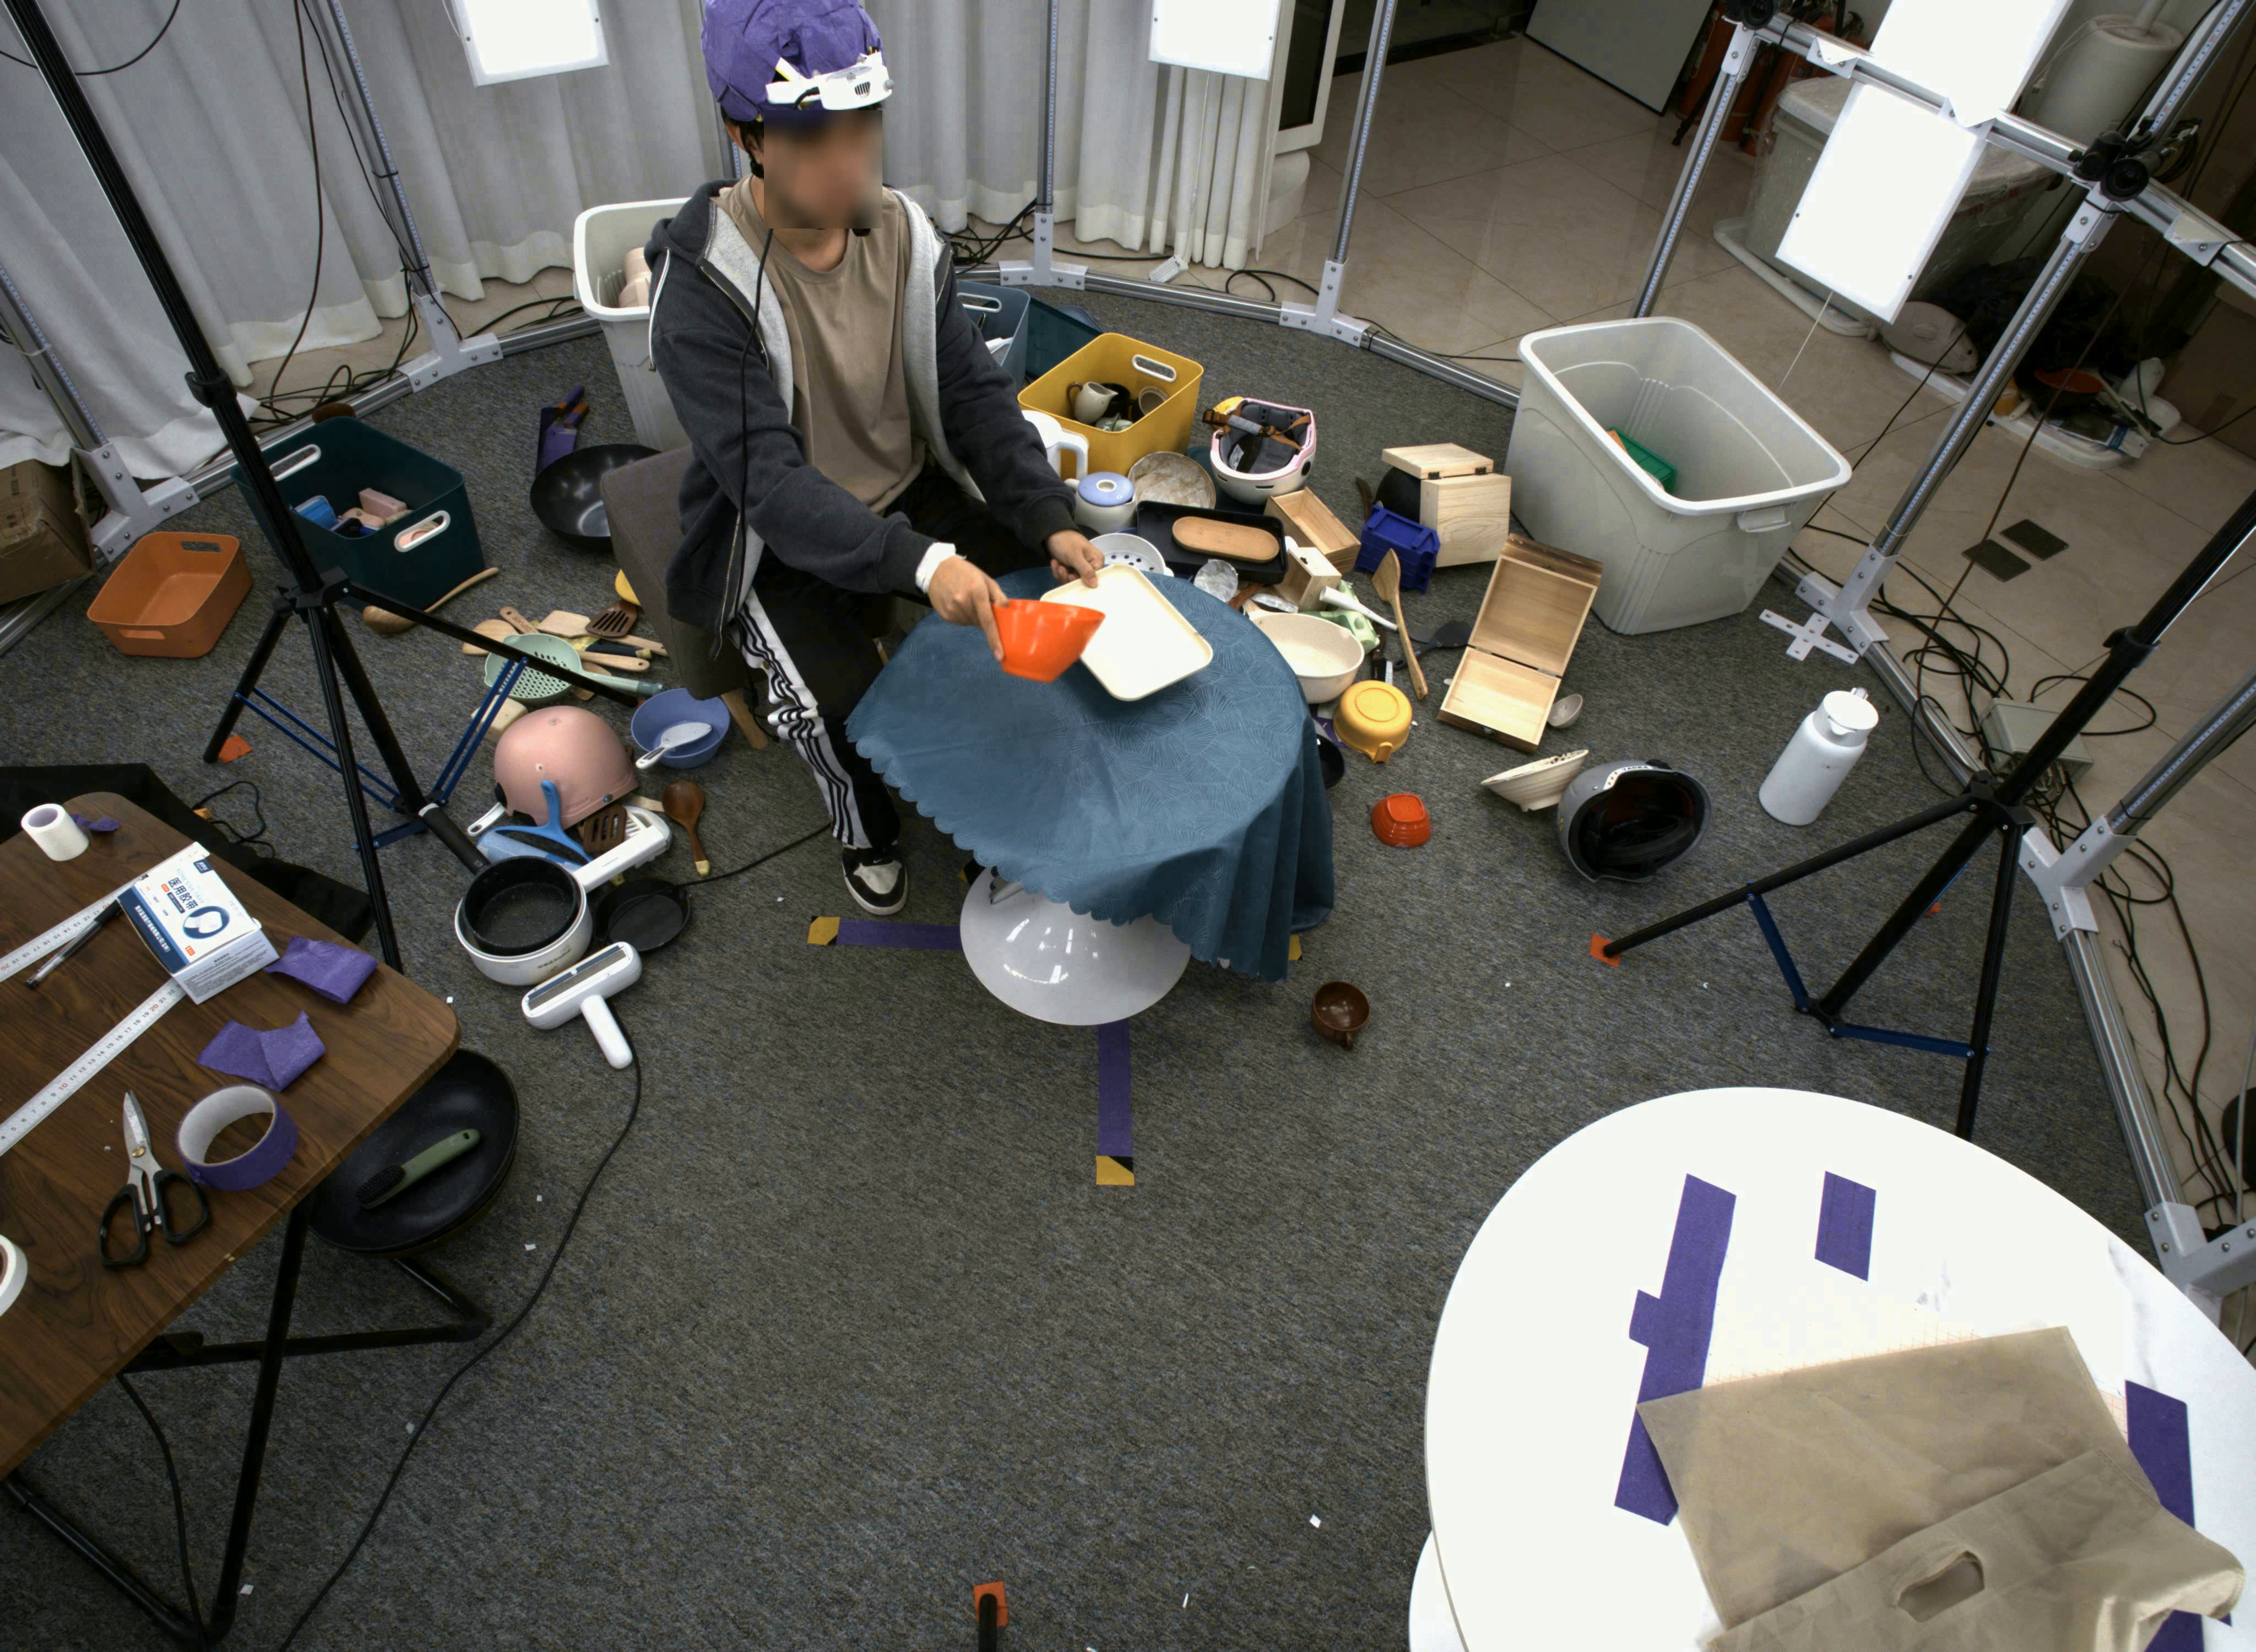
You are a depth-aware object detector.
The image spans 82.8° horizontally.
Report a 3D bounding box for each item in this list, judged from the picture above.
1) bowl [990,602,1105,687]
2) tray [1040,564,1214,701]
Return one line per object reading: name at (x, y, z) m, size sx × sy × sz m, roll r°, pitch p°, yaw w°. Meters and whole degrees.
bowl at (-0.112, -0.236, 1.657) m, size 0.148 × 0.104 × 0.149 m, roll 14°, pitch 9°, yaw -2°
tray at (-0.003, -0.279, 1.842) m, size 0.172 × 0.017 × 0.244 m, roll -27°, pitch 58°, yaw -21°
